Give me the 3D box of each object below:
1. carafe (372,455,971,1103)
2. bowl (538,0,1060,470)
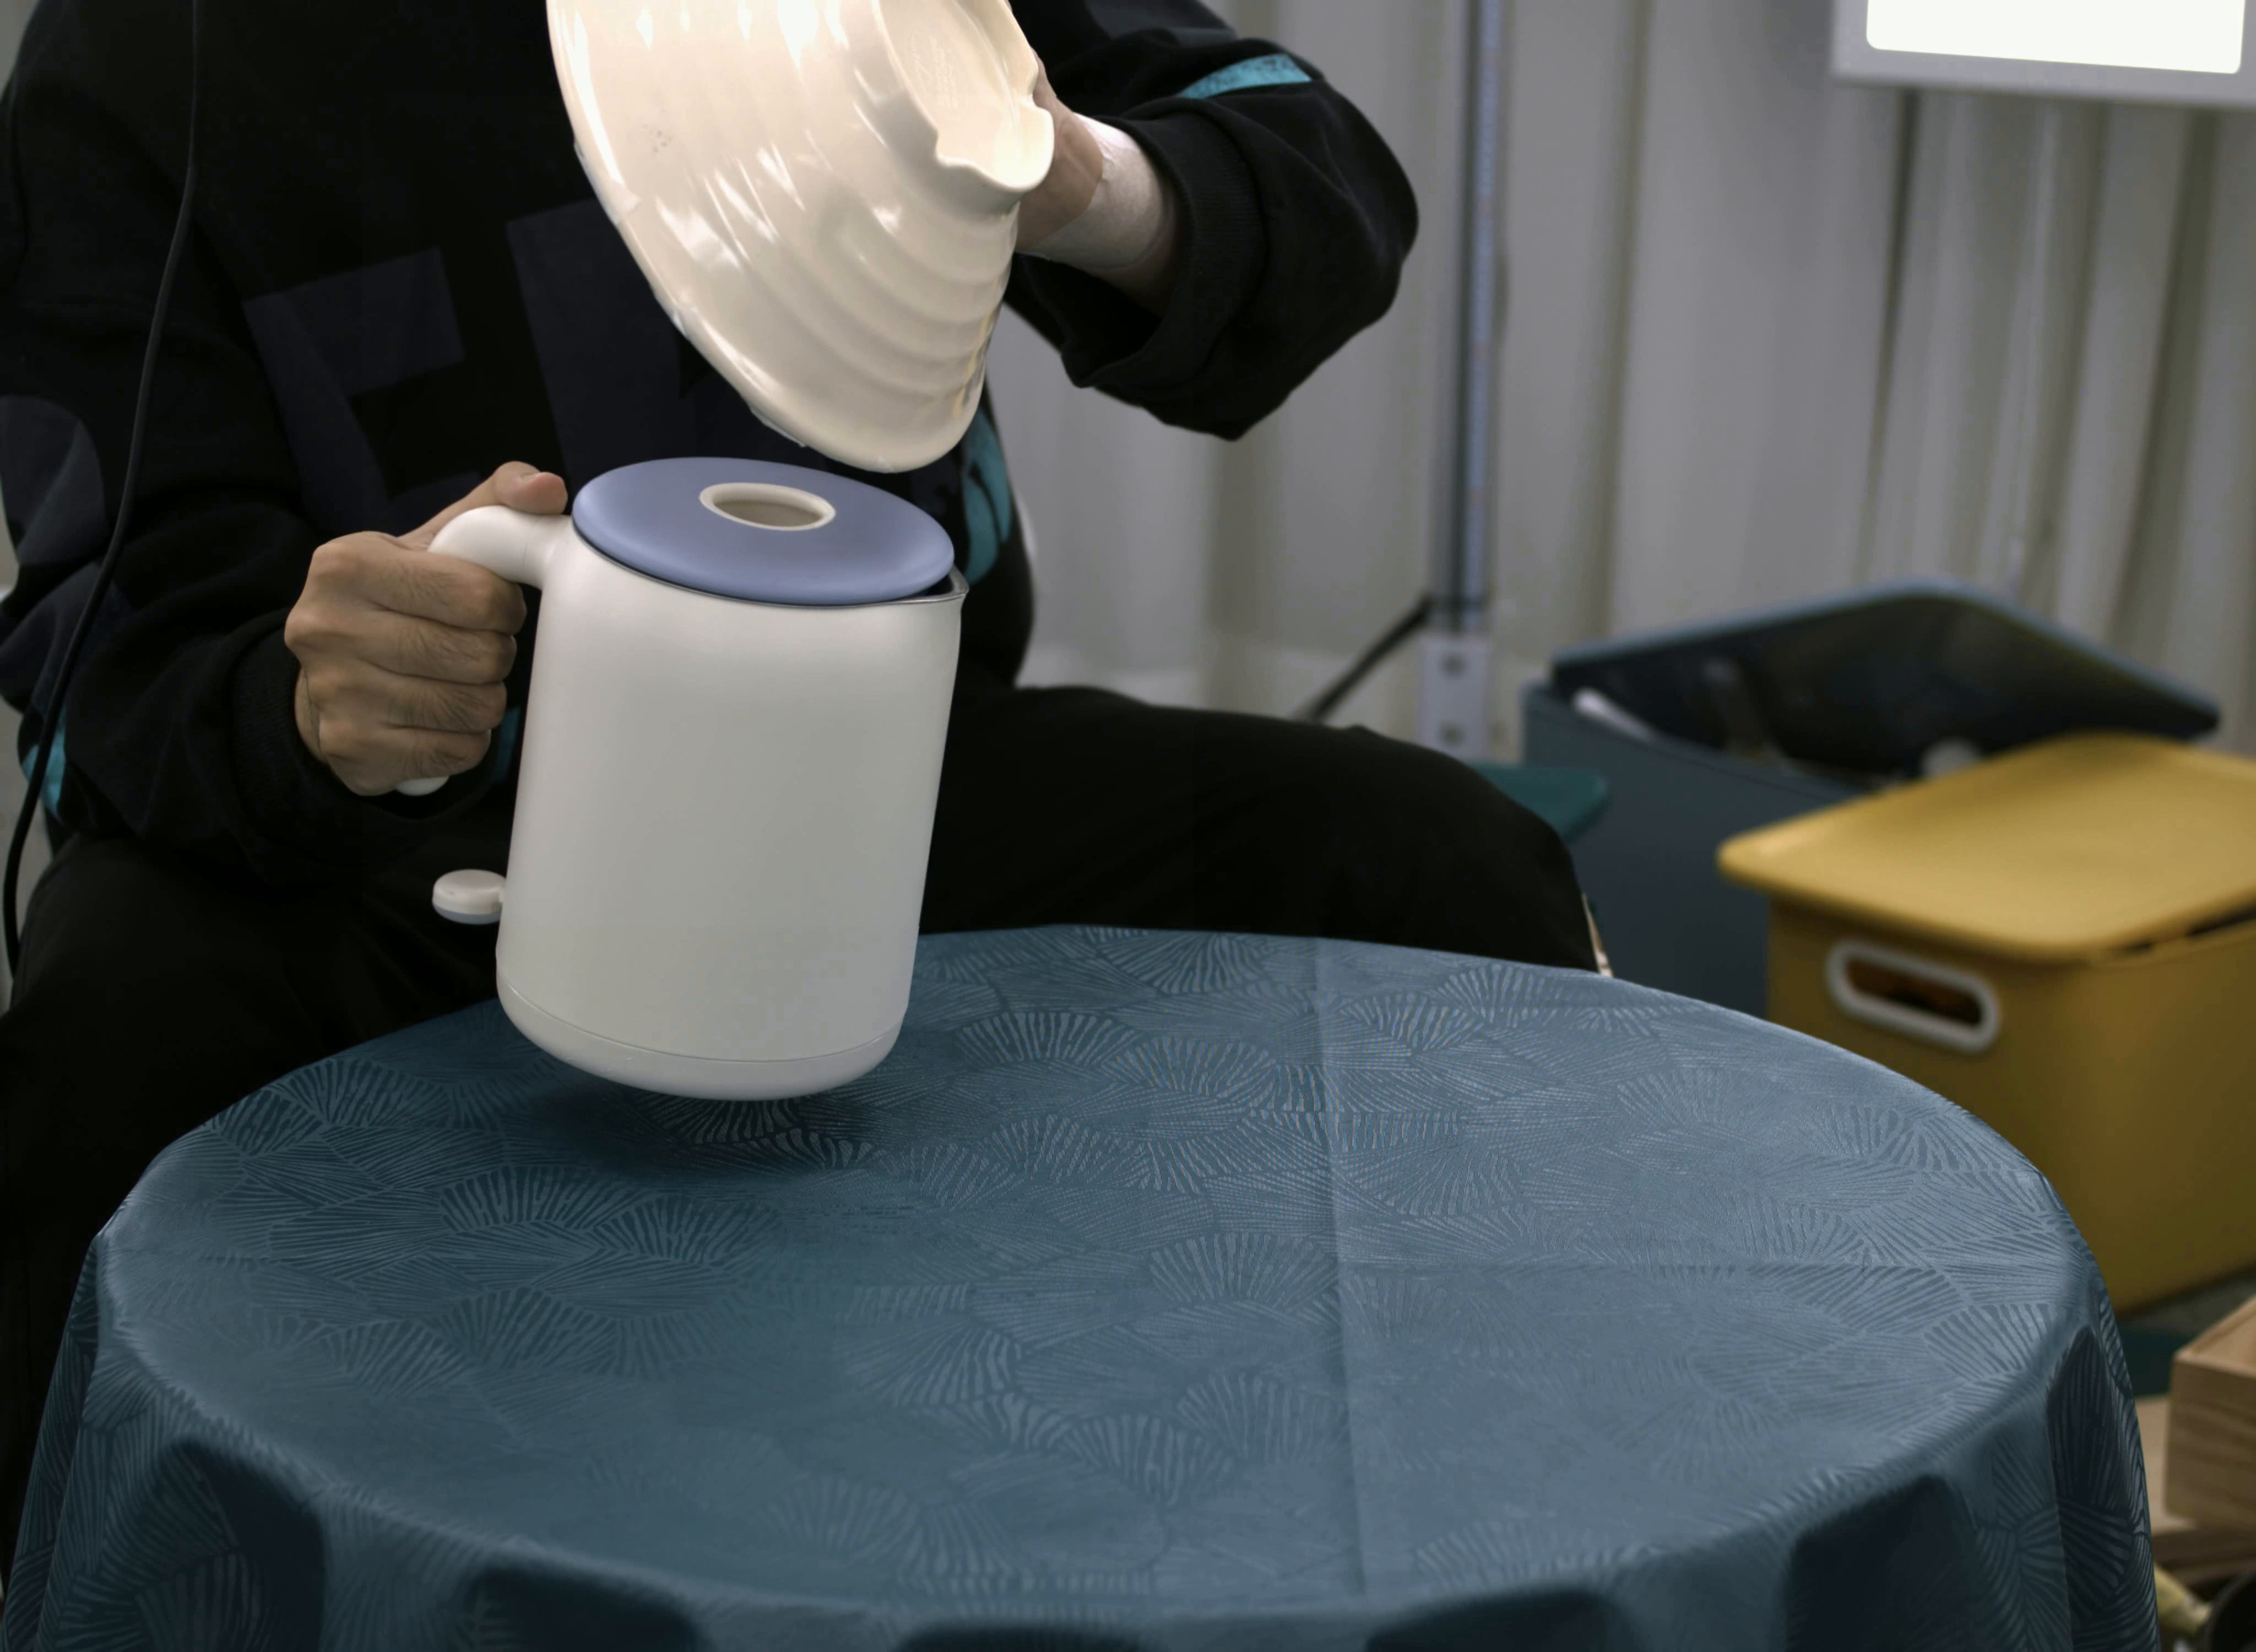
[{"bbox_3d":[-0.146,-0.021,1.644,0.189,0.184,0.132,12,20,15],"label":"carafe"},{"bbox_3d":[-0.077,-0.214,1.553,0.077,0.204,0.204,-25,2,31],"label":"bowl"}]
